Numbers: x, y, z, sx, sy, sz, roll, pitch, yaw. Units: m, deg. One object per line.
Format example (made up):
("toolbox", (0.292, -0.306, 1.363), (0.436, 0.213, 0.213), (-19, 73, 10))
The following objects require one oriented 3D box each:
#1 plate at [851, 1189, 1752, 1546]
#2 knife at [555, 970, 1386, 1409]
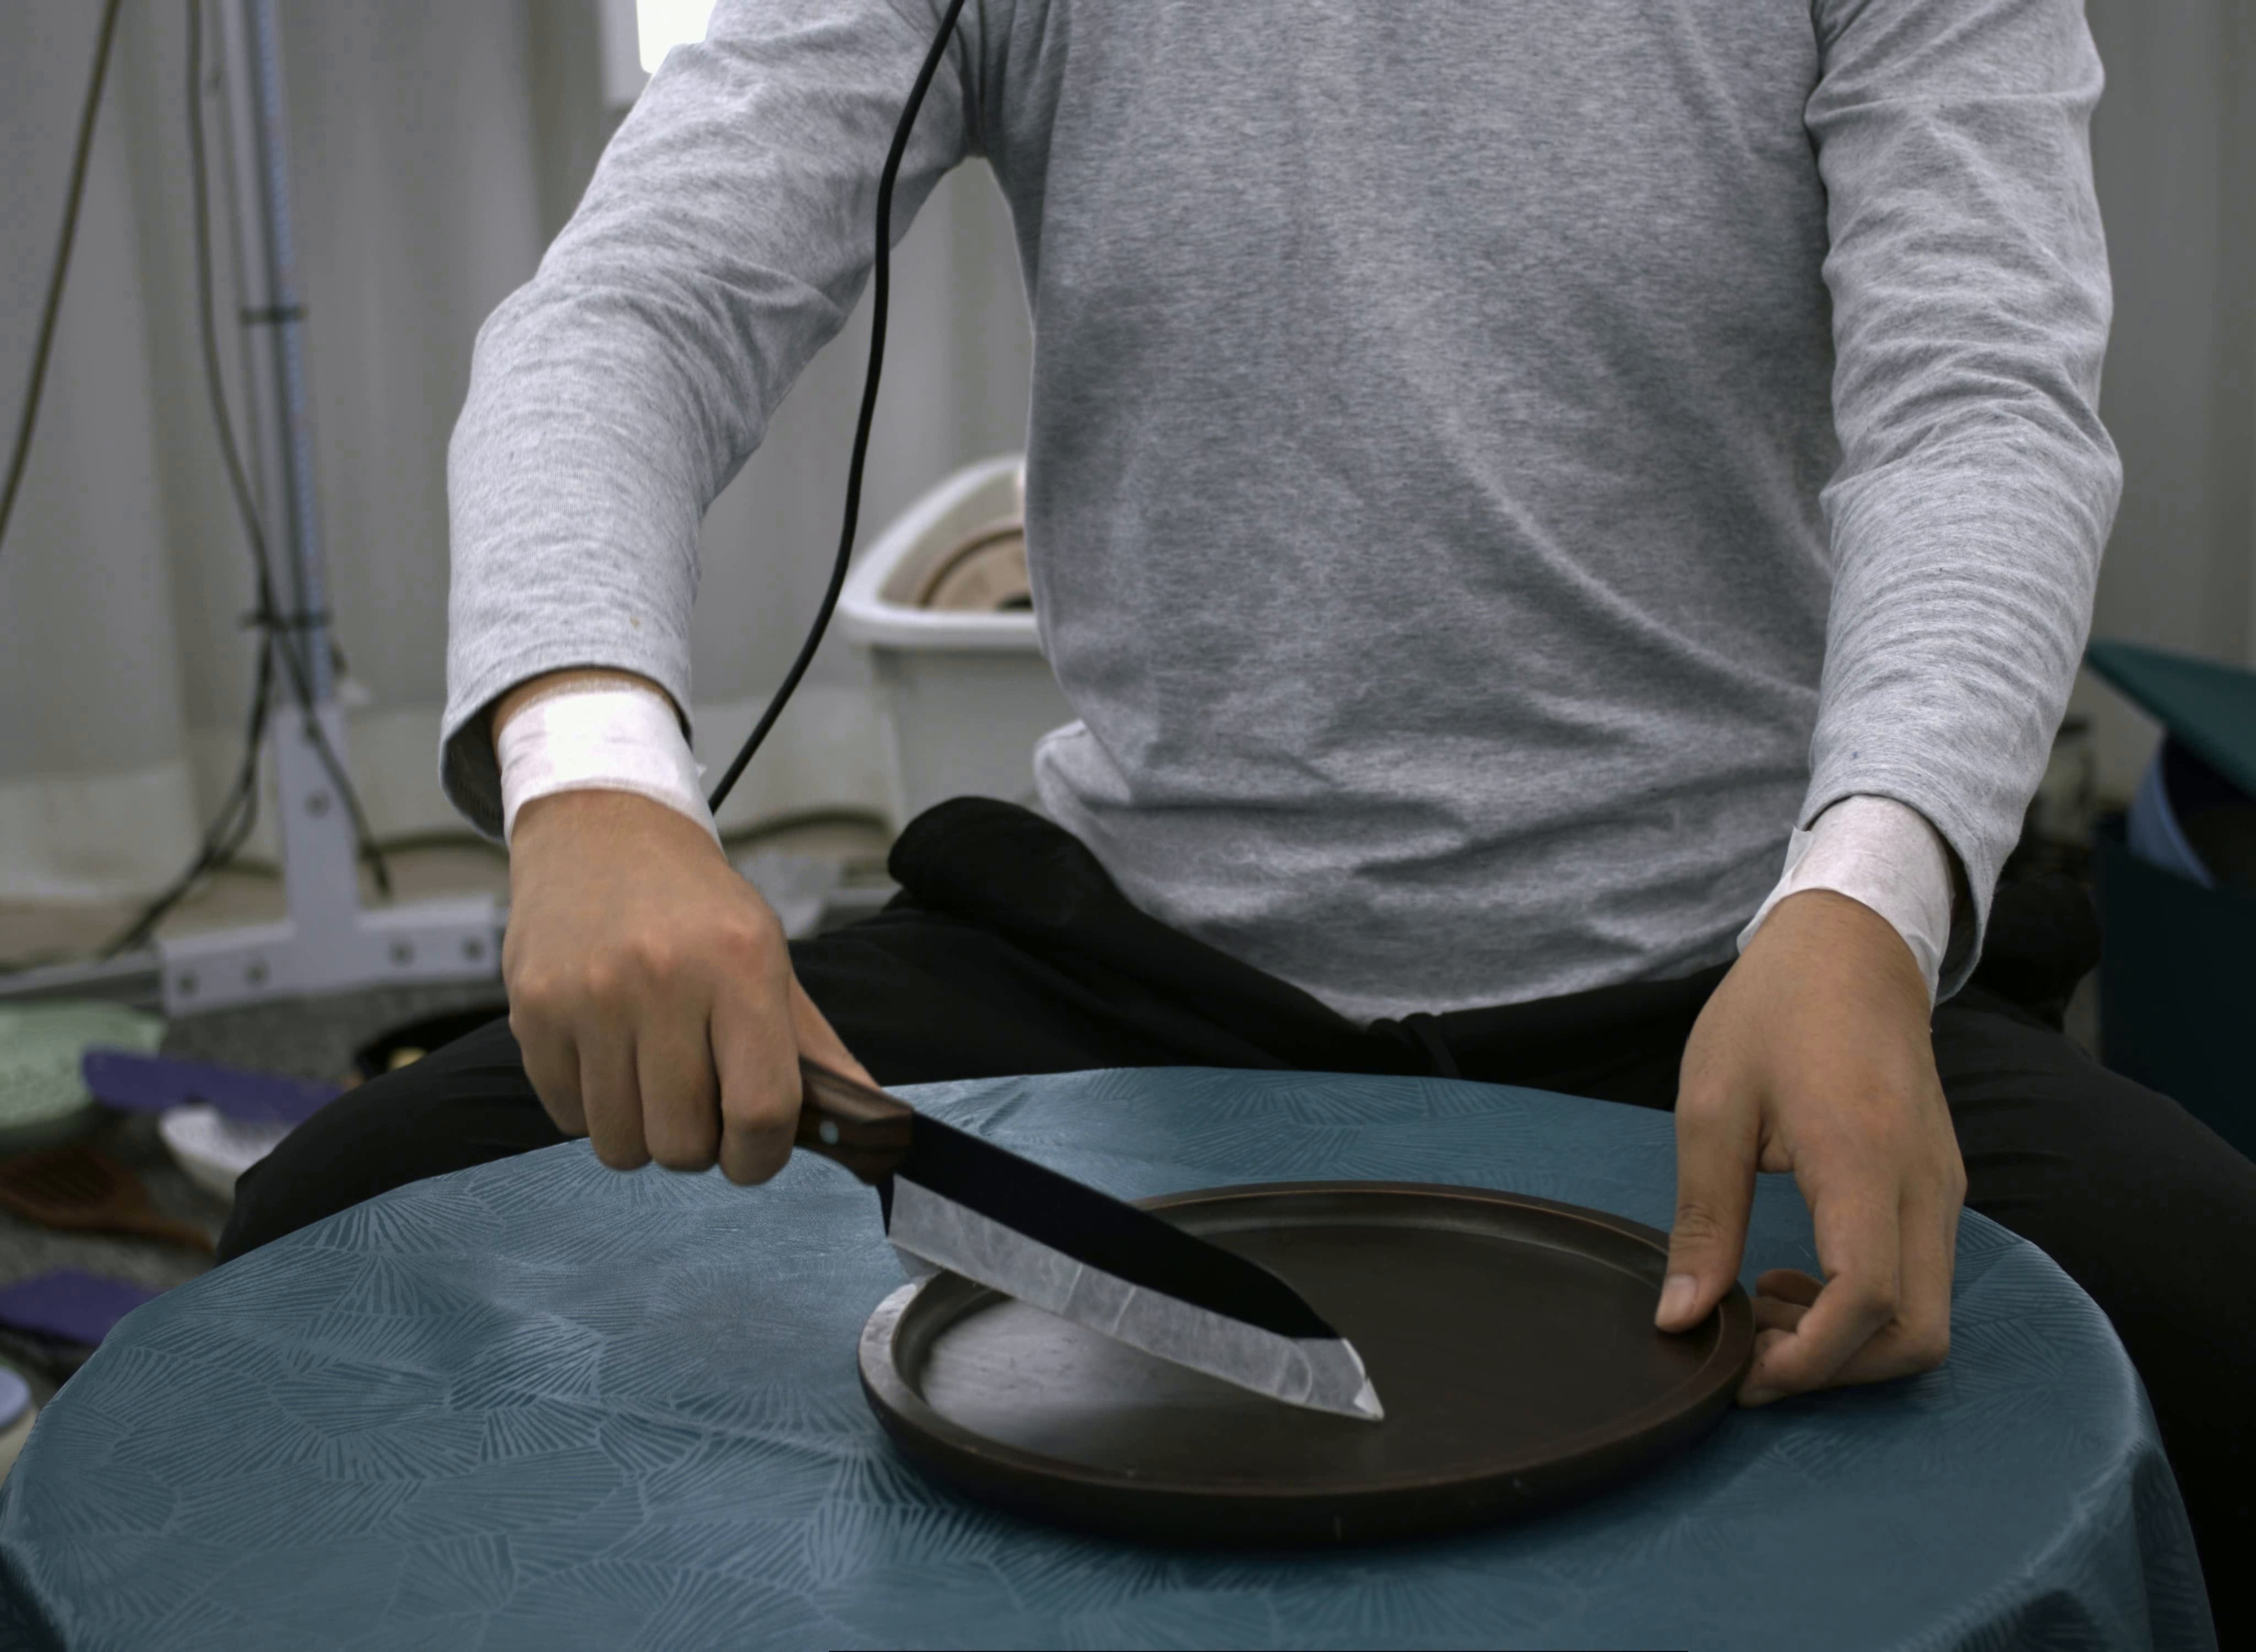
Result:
("plate", (0.049, 0.149, 1.532), (0.254, 0.029, 0.256), (-4, 13, 1))
("knife", (-0.047, 0.102, 1.543), (0.291, 0.050, 0.020), (24, 30, 28))
